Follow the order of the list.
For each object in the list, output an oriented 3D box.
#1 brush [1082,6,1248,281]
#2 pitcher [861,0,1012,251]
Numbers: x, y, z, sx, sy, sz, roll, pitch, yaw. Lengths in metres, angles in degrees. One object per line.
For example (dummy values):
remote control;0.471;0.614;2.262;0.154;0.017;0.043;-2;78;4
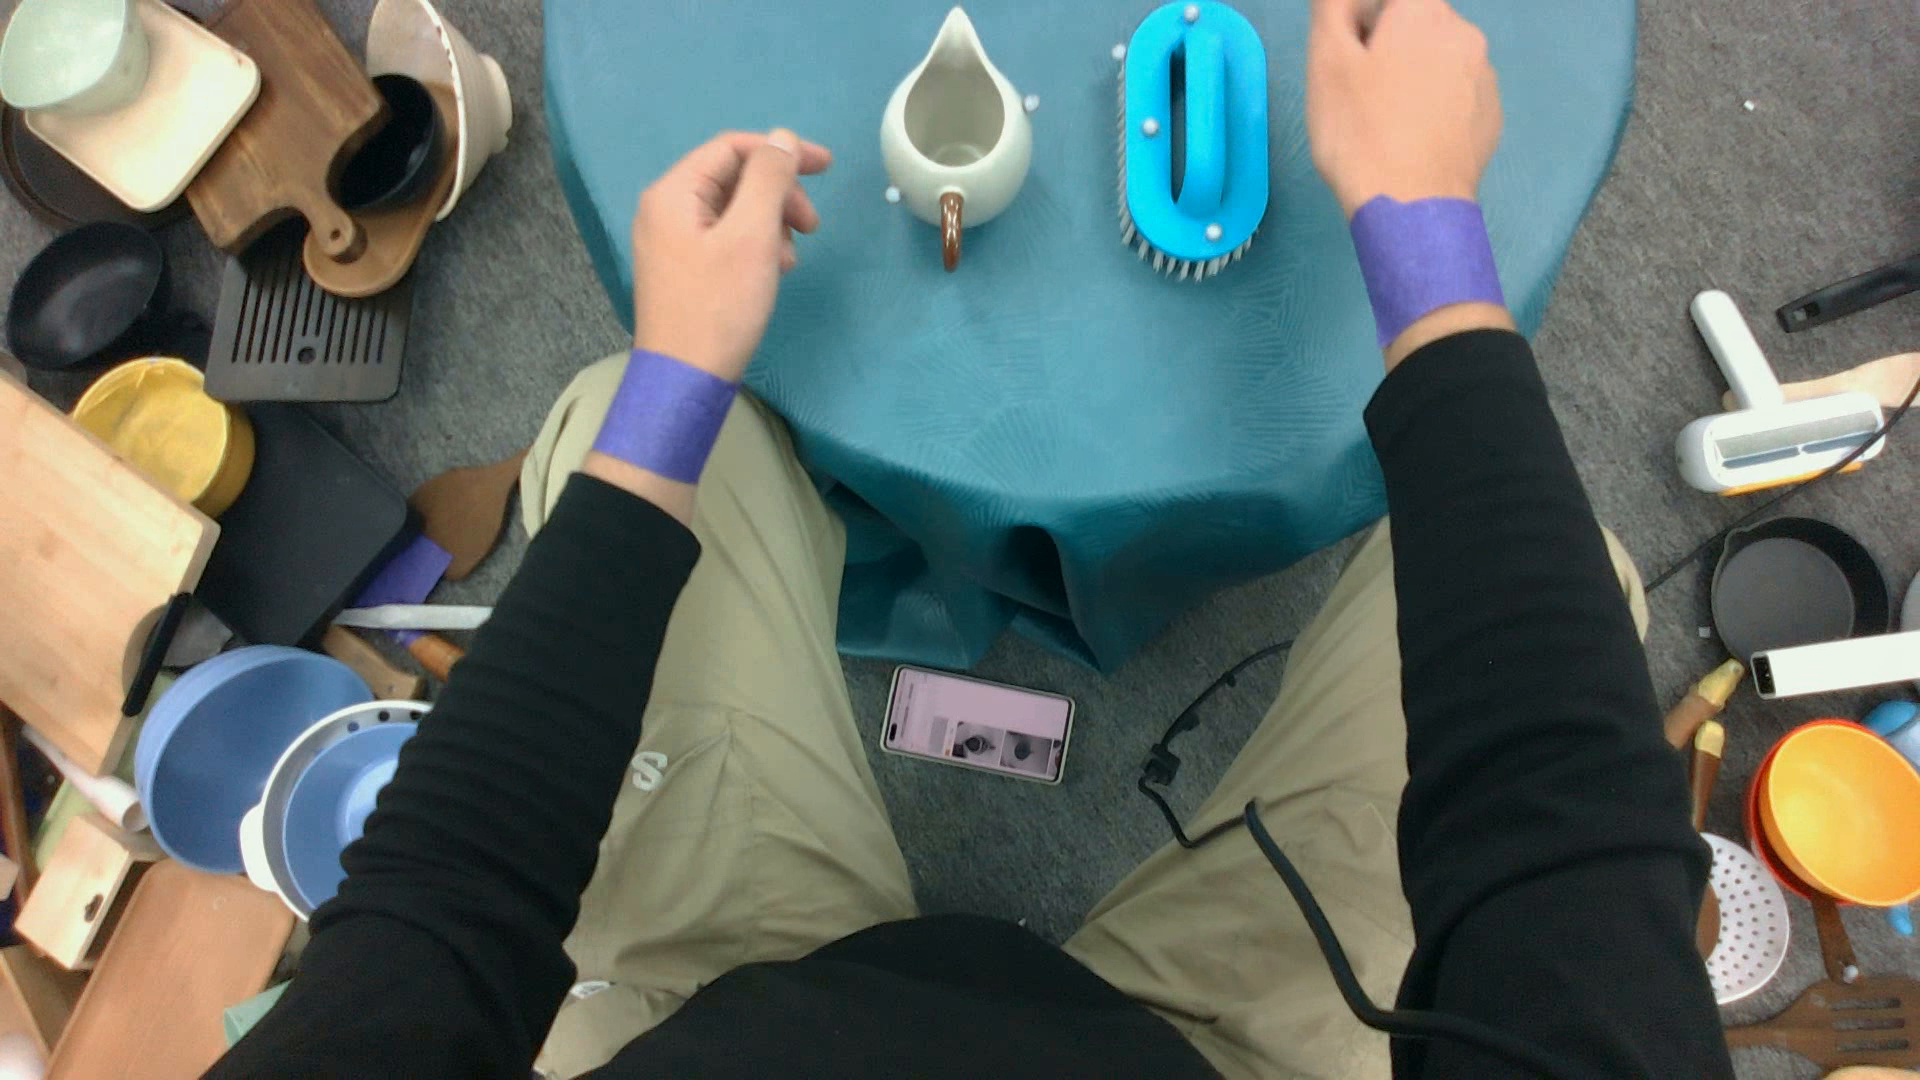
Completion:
brush;0.108;-0.211;0.711;0.084;0.063;0.142;2;81;-4
pitcher;-0.012;-0.197;0.699;0.076;0.087;0.119;4;77;6
